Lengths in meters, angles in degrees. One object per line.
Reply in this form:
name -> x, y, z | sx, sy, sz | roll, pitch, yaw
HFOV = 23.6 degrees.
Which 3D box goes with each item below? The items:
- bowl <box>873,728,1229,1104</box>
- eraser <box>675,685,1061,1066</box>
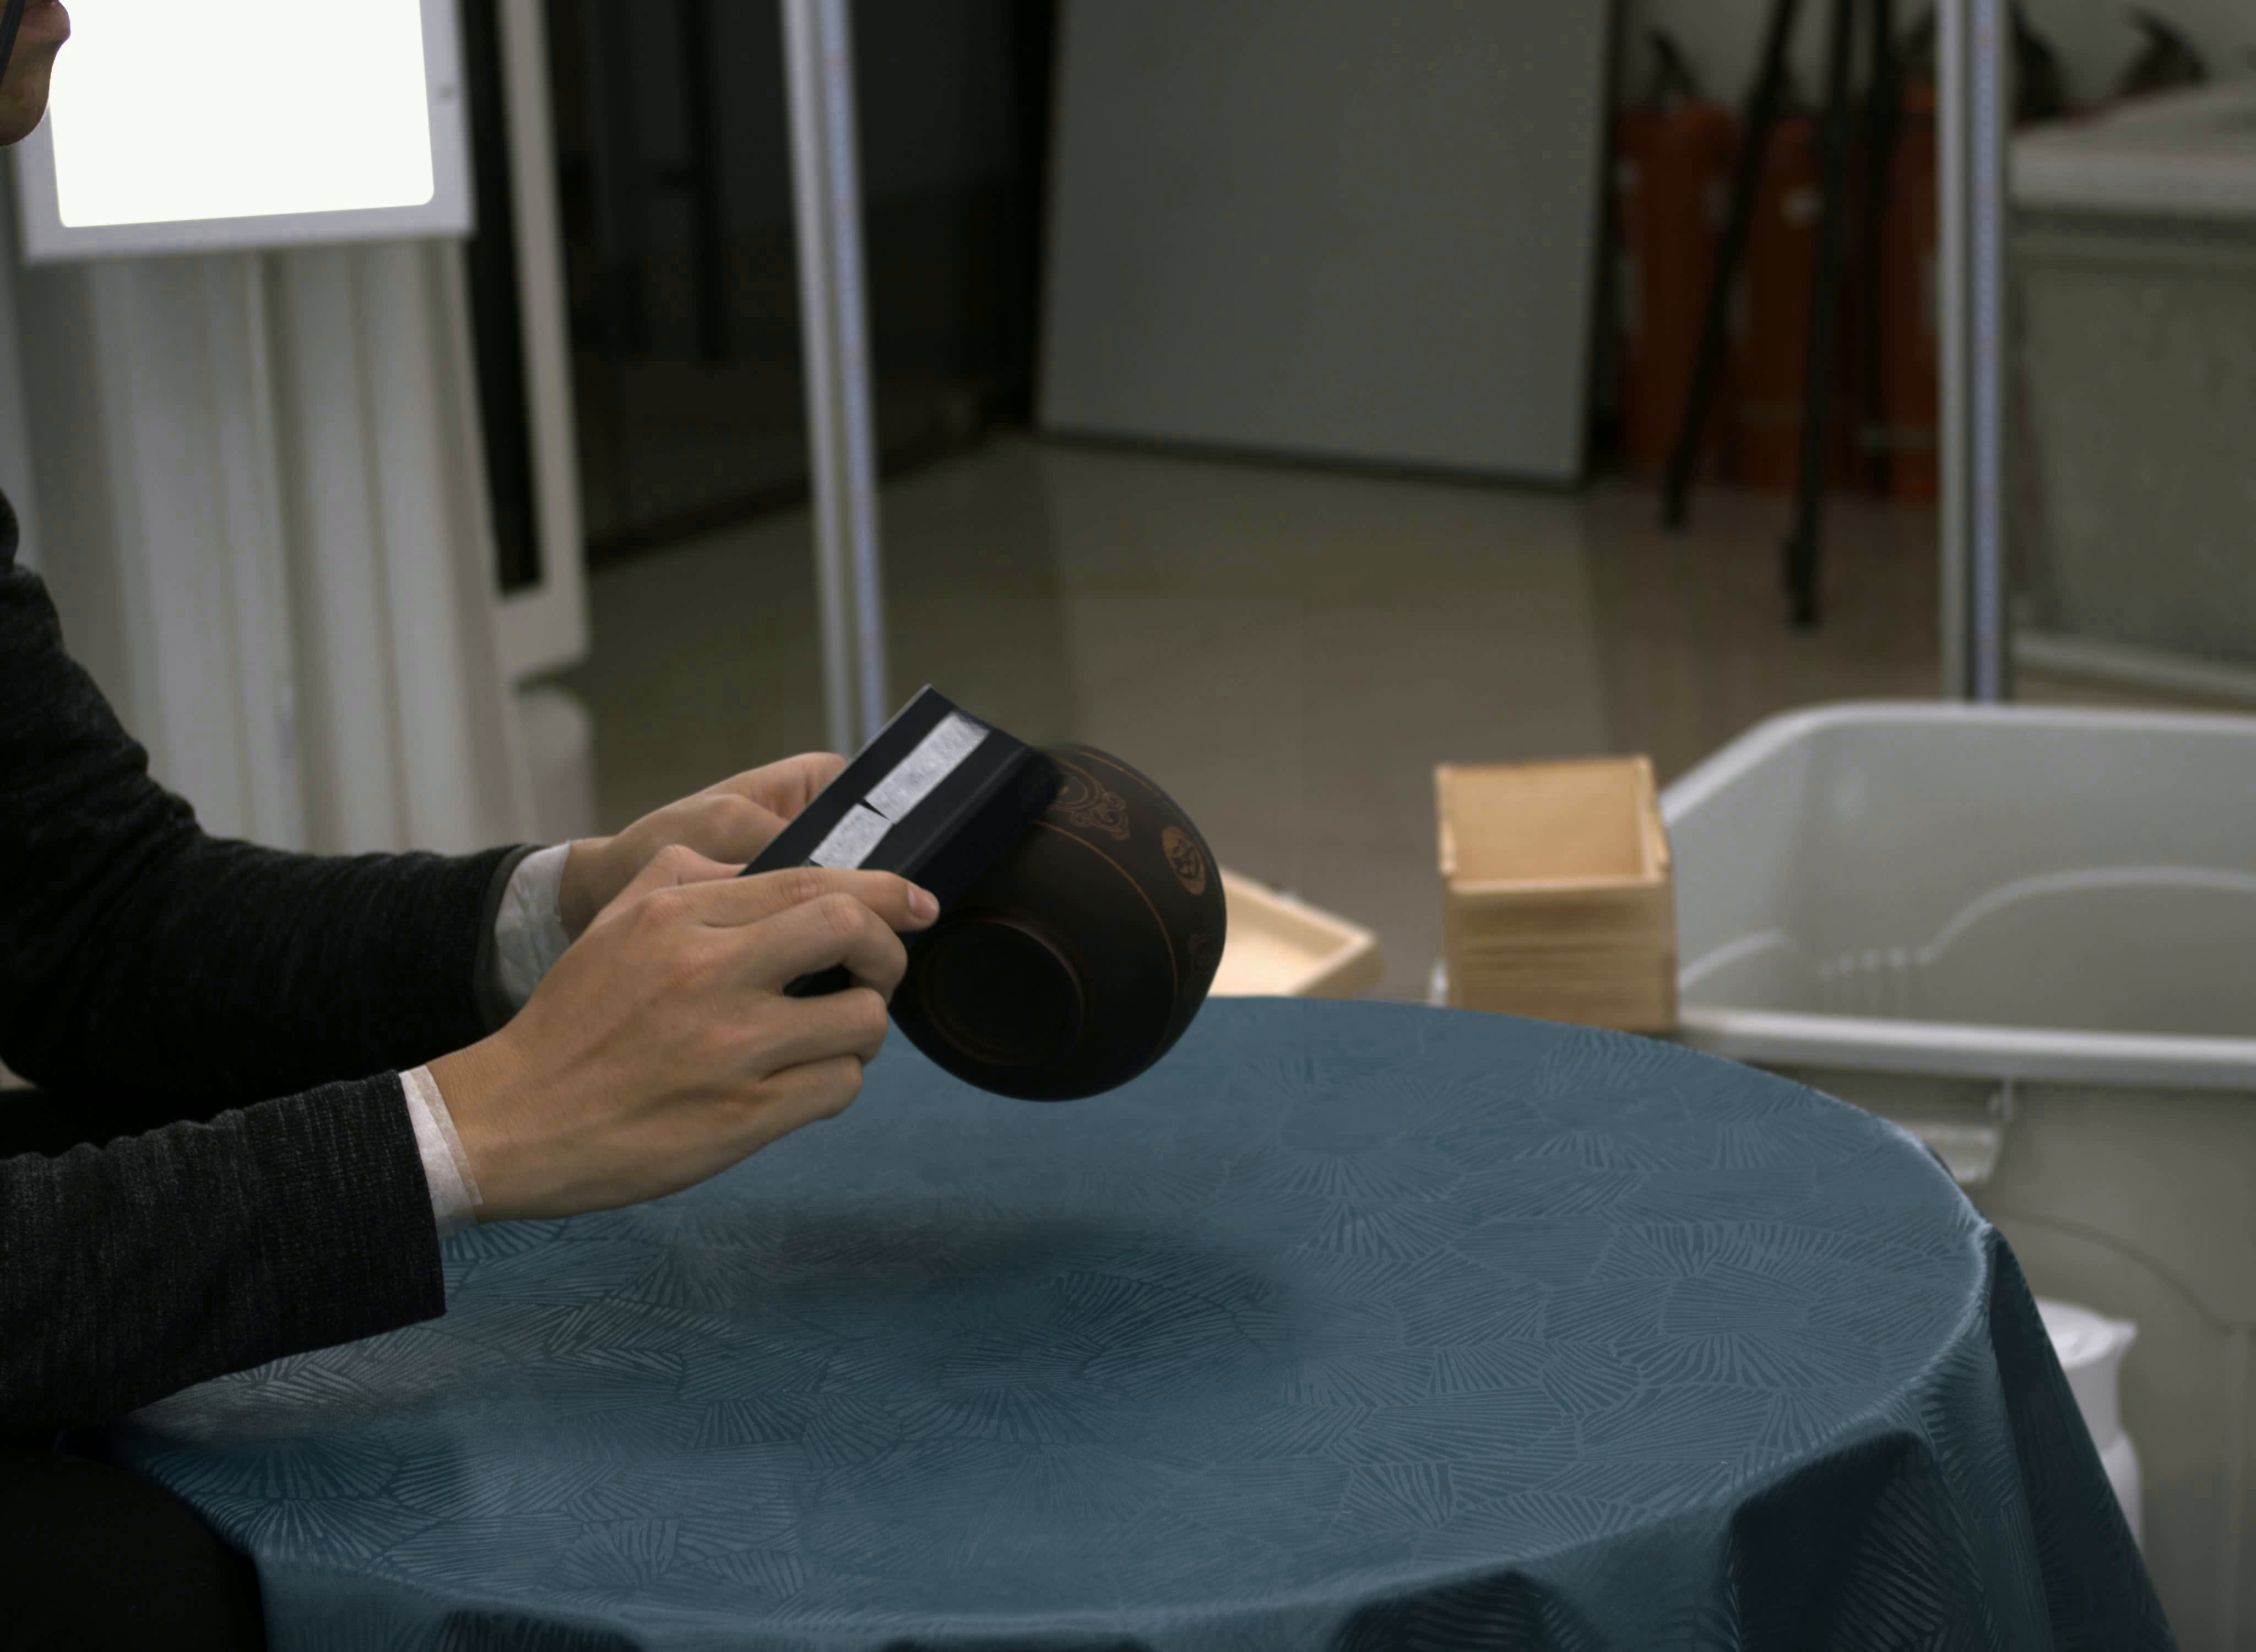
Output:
bowl -> -0.031, 0.036, 1.705 | 0.118, 0.119, 0.069 | 1, 29, 19
eraser -> -0.079, 0.014, 1.653 | 0.054, 0.030, 0.125 | 28, 68, 39
